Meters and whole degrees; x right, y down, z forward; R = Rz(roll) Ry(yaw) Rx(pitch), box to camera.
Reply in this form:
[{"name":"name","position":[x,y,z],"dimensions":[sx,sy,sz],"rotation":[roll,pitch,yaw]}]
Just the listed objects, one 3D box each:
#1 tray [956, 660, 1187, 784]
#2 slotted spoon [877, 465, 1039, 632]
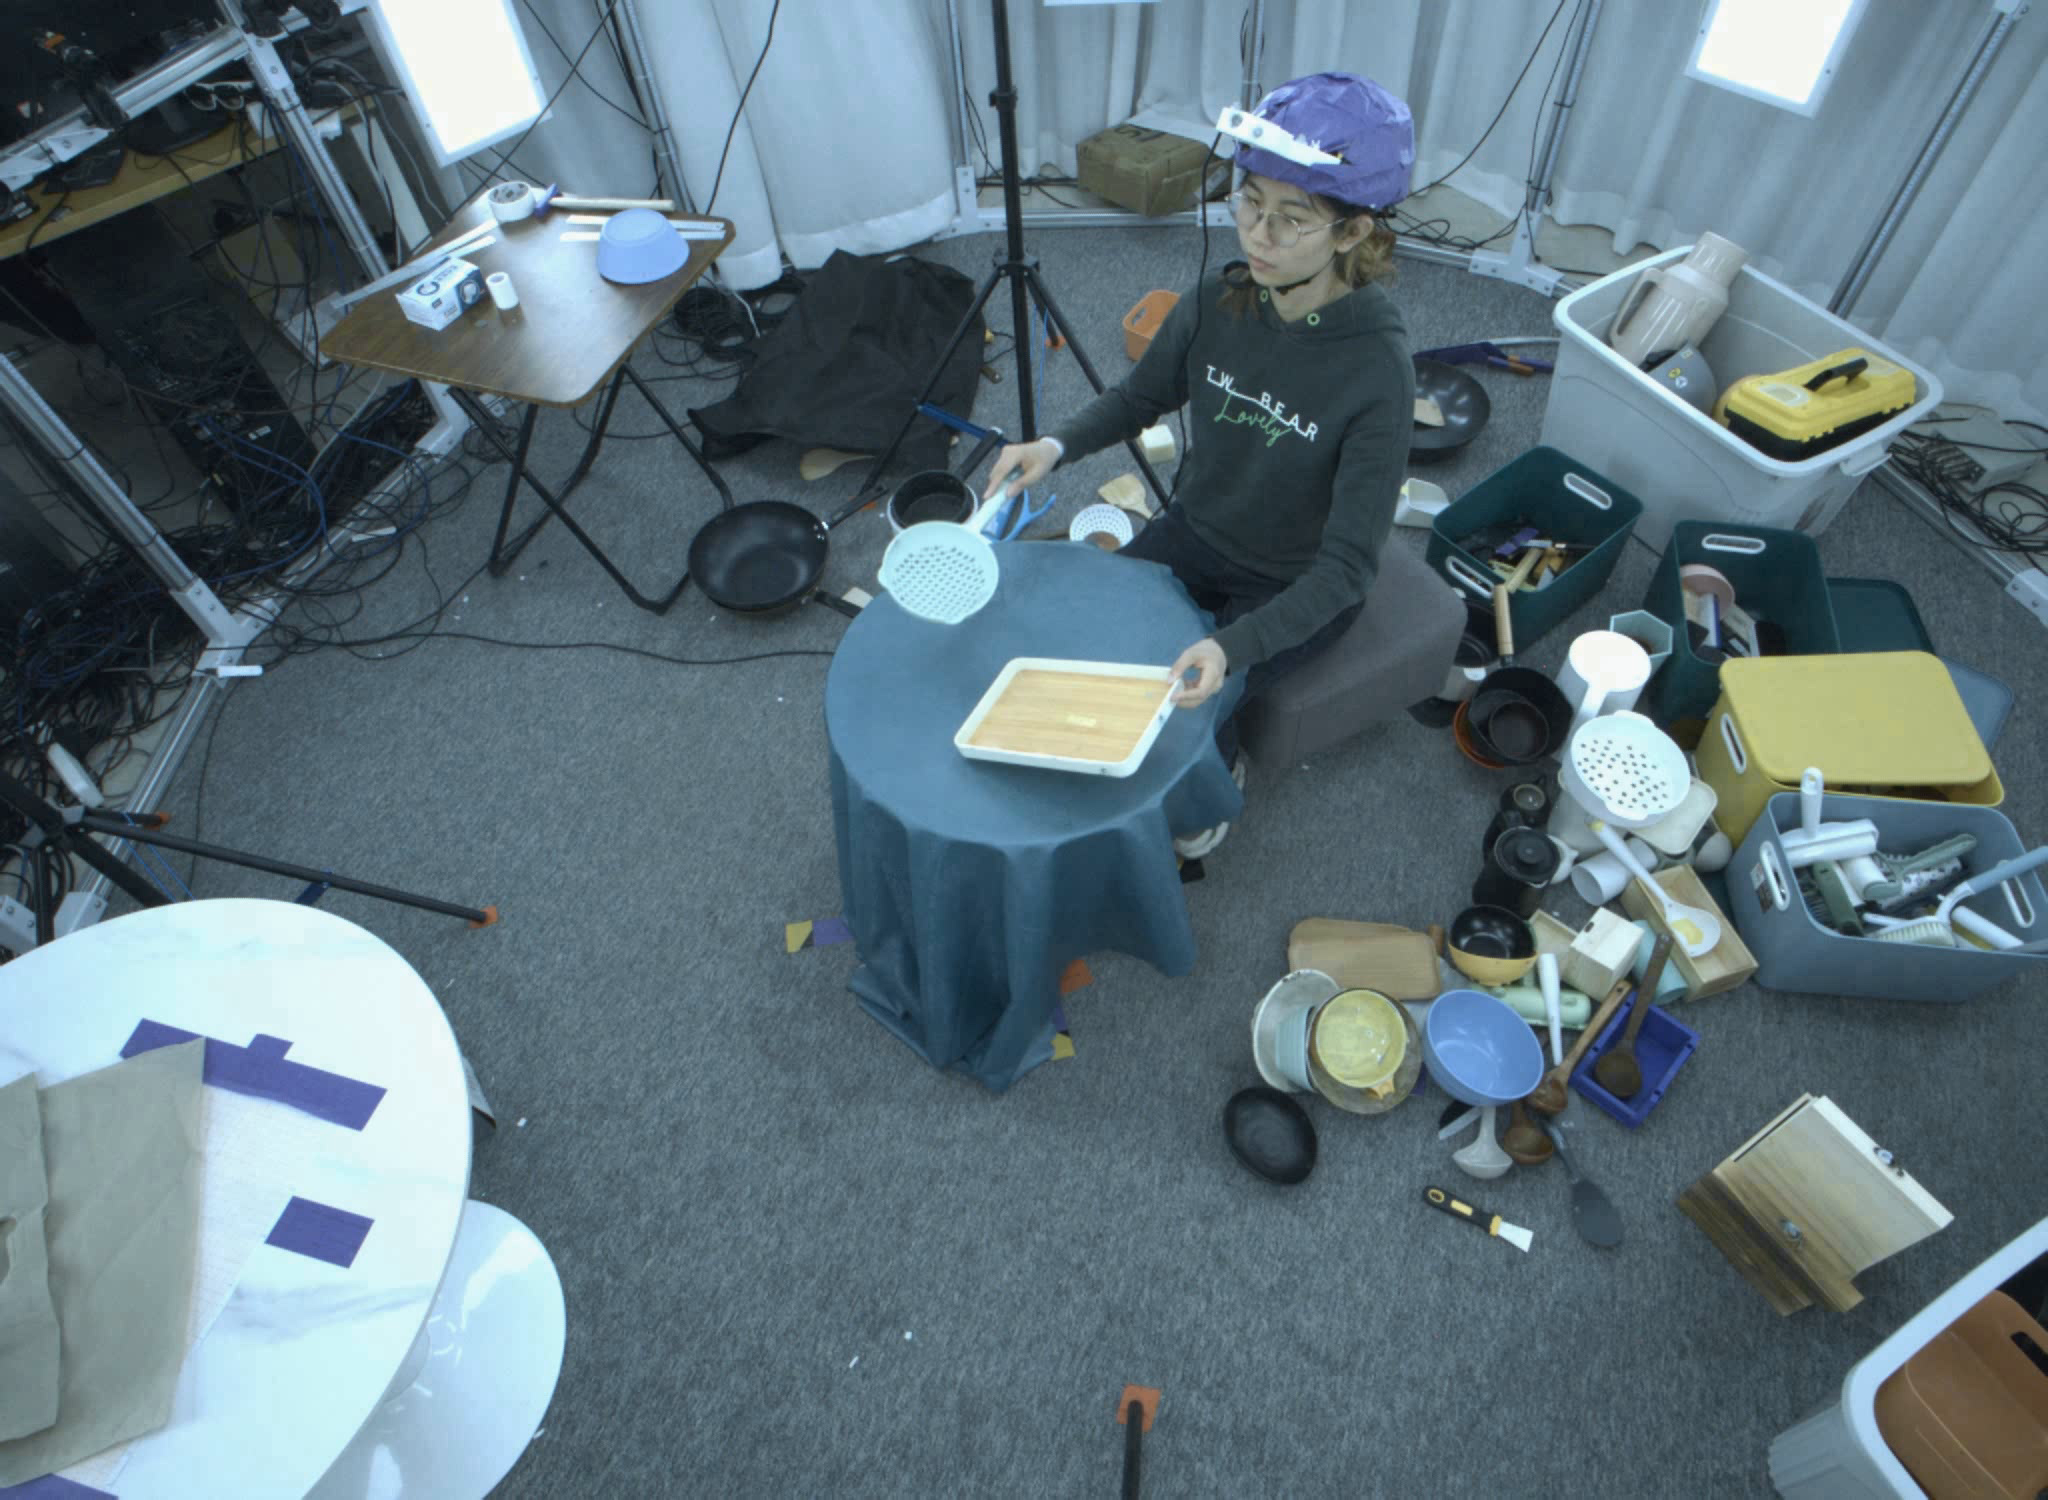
[{"name":"tray","position":[0.064,-0.045,1.742],"dimensions":[0.294,0.028,0.192],"rotation":[9,51,34]},{"name":"slotted spoon","position":[-0.075,-0.319,1.837],"dimensions":[0.169,0.075,0.359],"rotation":[32,71,4]}]
